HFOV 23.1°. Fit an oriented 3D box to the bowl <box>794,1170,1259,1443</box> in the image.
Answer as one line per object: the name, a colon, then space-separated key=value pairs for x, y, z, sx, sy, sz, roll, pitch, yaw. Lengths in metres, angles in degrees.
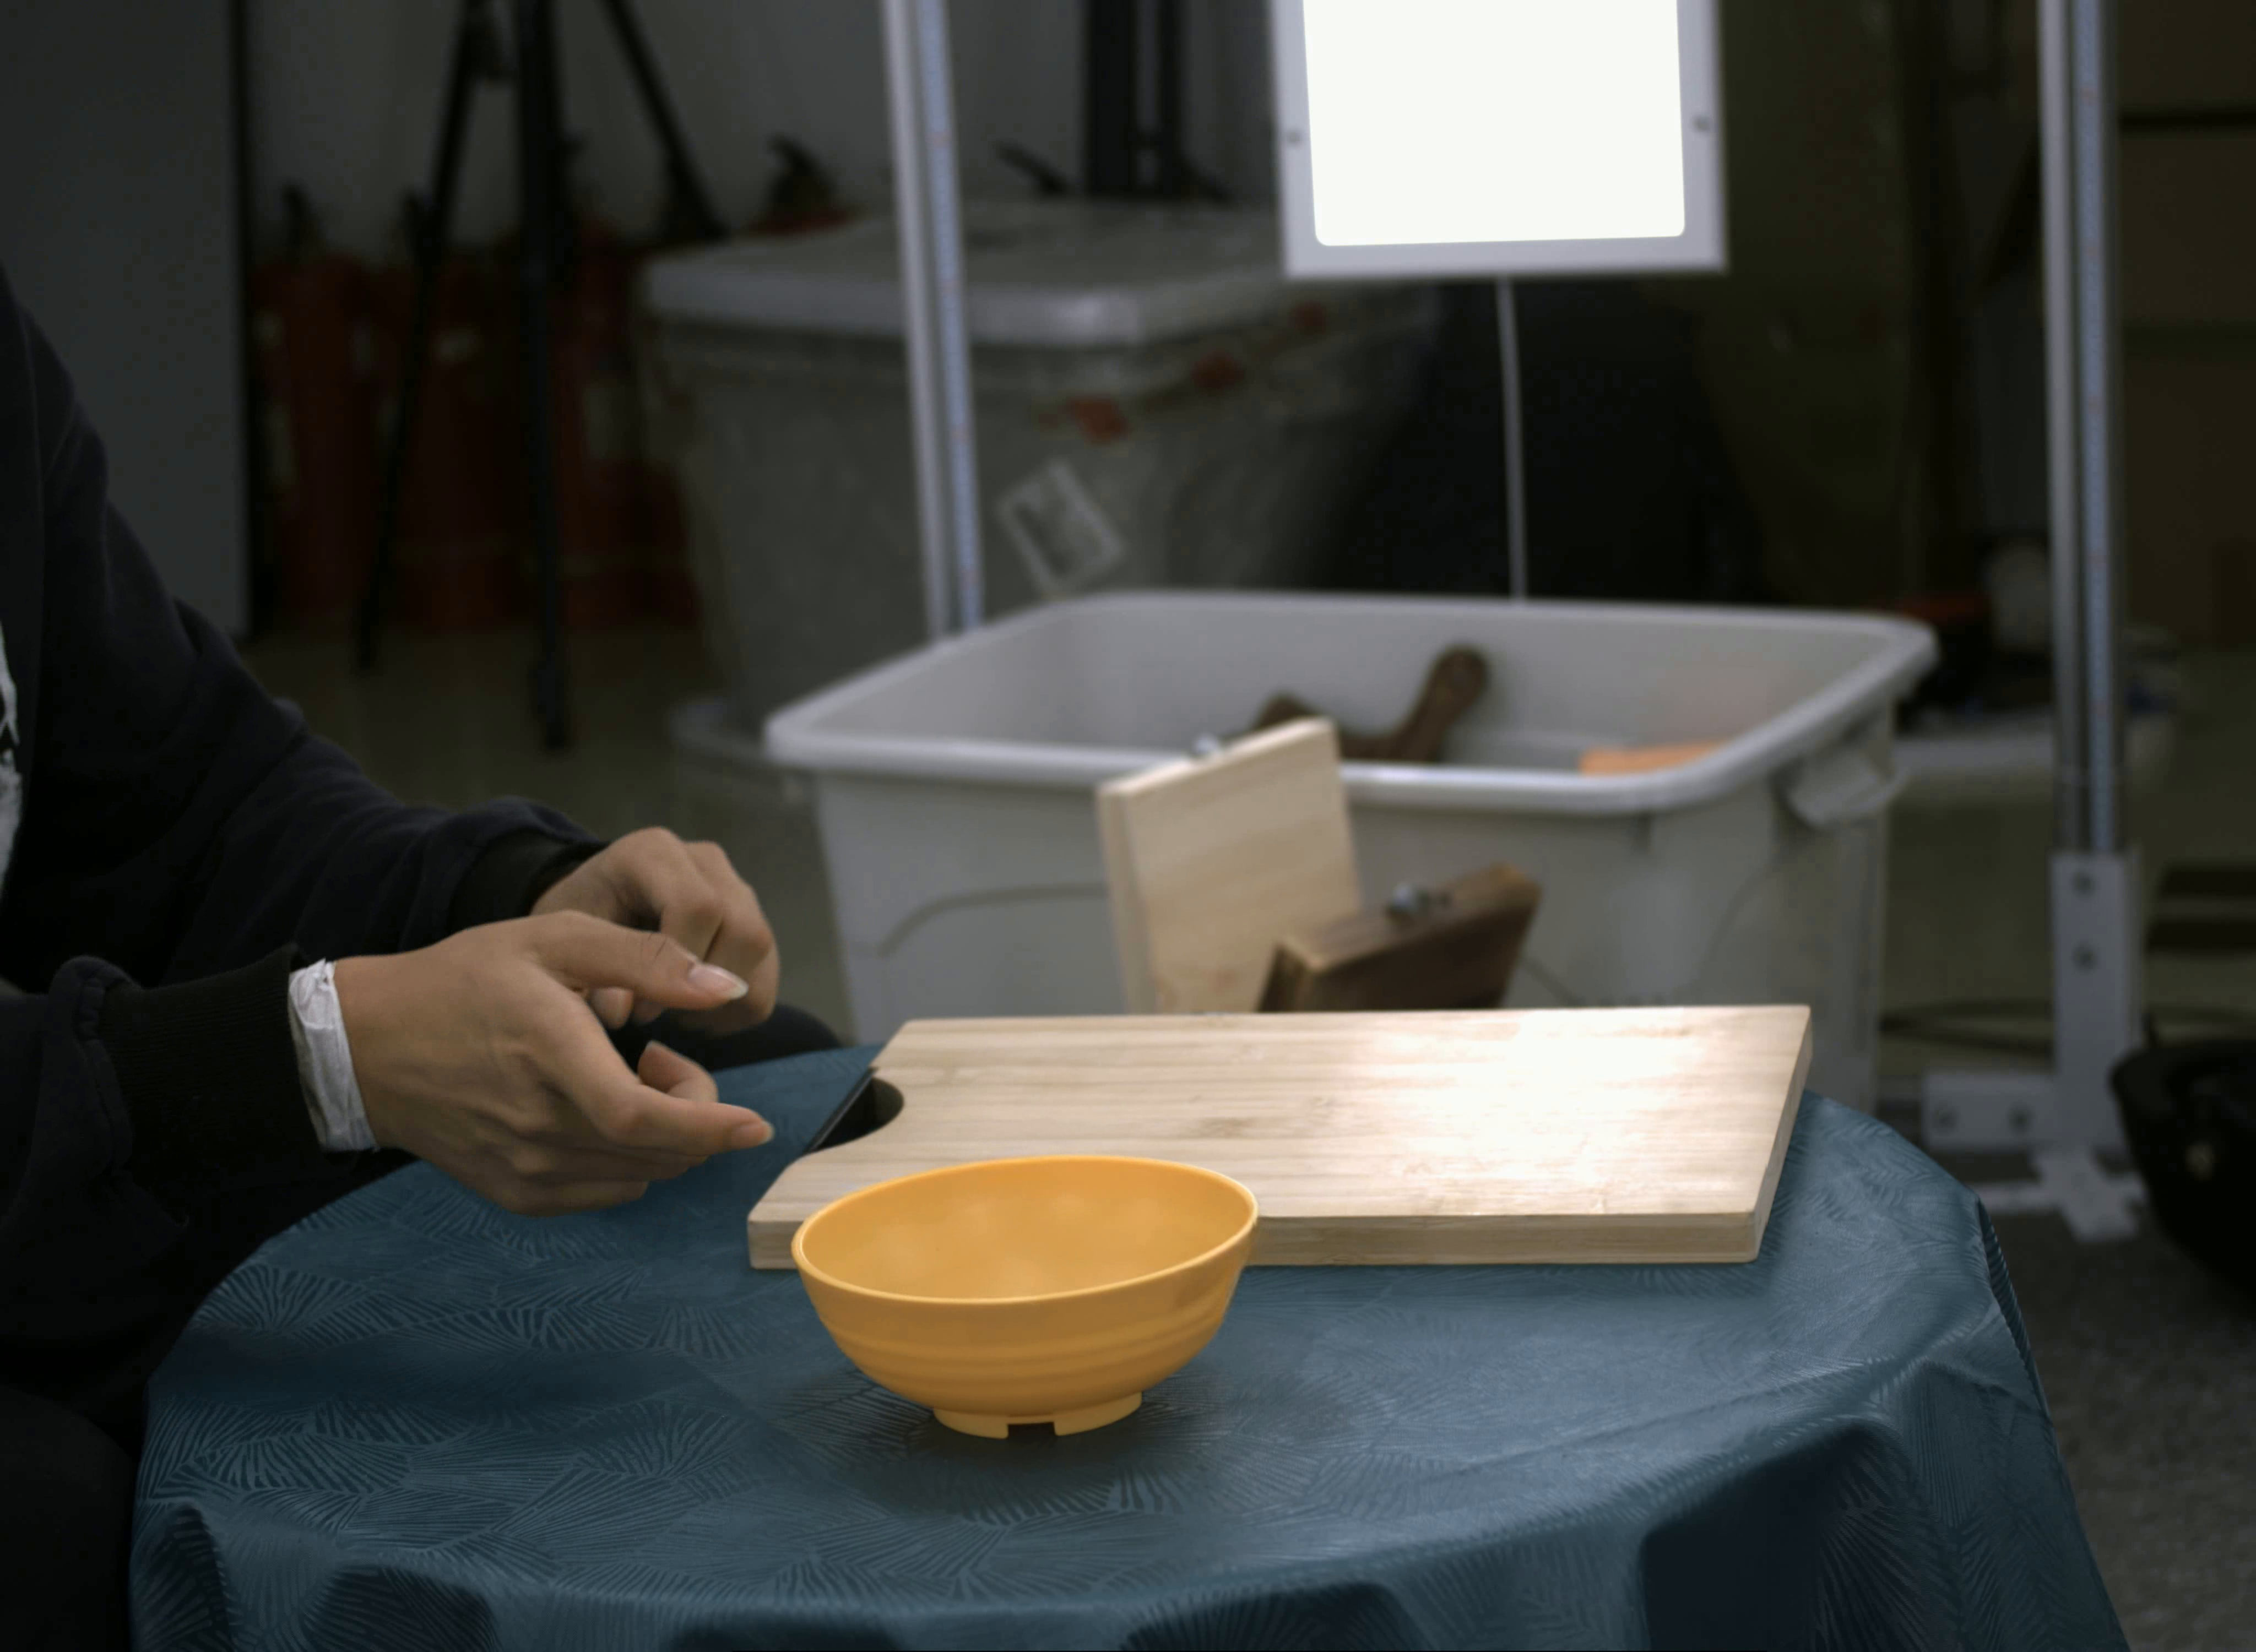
bowl: x=-0.029 y=0.151 z=1.690 sx=0.145 sy=0.060 sz=0.145 roll=-5 pitch=11 yaw=0

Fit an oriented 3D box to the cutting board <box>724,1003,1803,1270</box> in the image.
cutting board: x=0.055 y=0.108 z=1.922 sx=0.351 sy=0.023 sz=0.248 roll=-2 pitch=14 yaw=13
